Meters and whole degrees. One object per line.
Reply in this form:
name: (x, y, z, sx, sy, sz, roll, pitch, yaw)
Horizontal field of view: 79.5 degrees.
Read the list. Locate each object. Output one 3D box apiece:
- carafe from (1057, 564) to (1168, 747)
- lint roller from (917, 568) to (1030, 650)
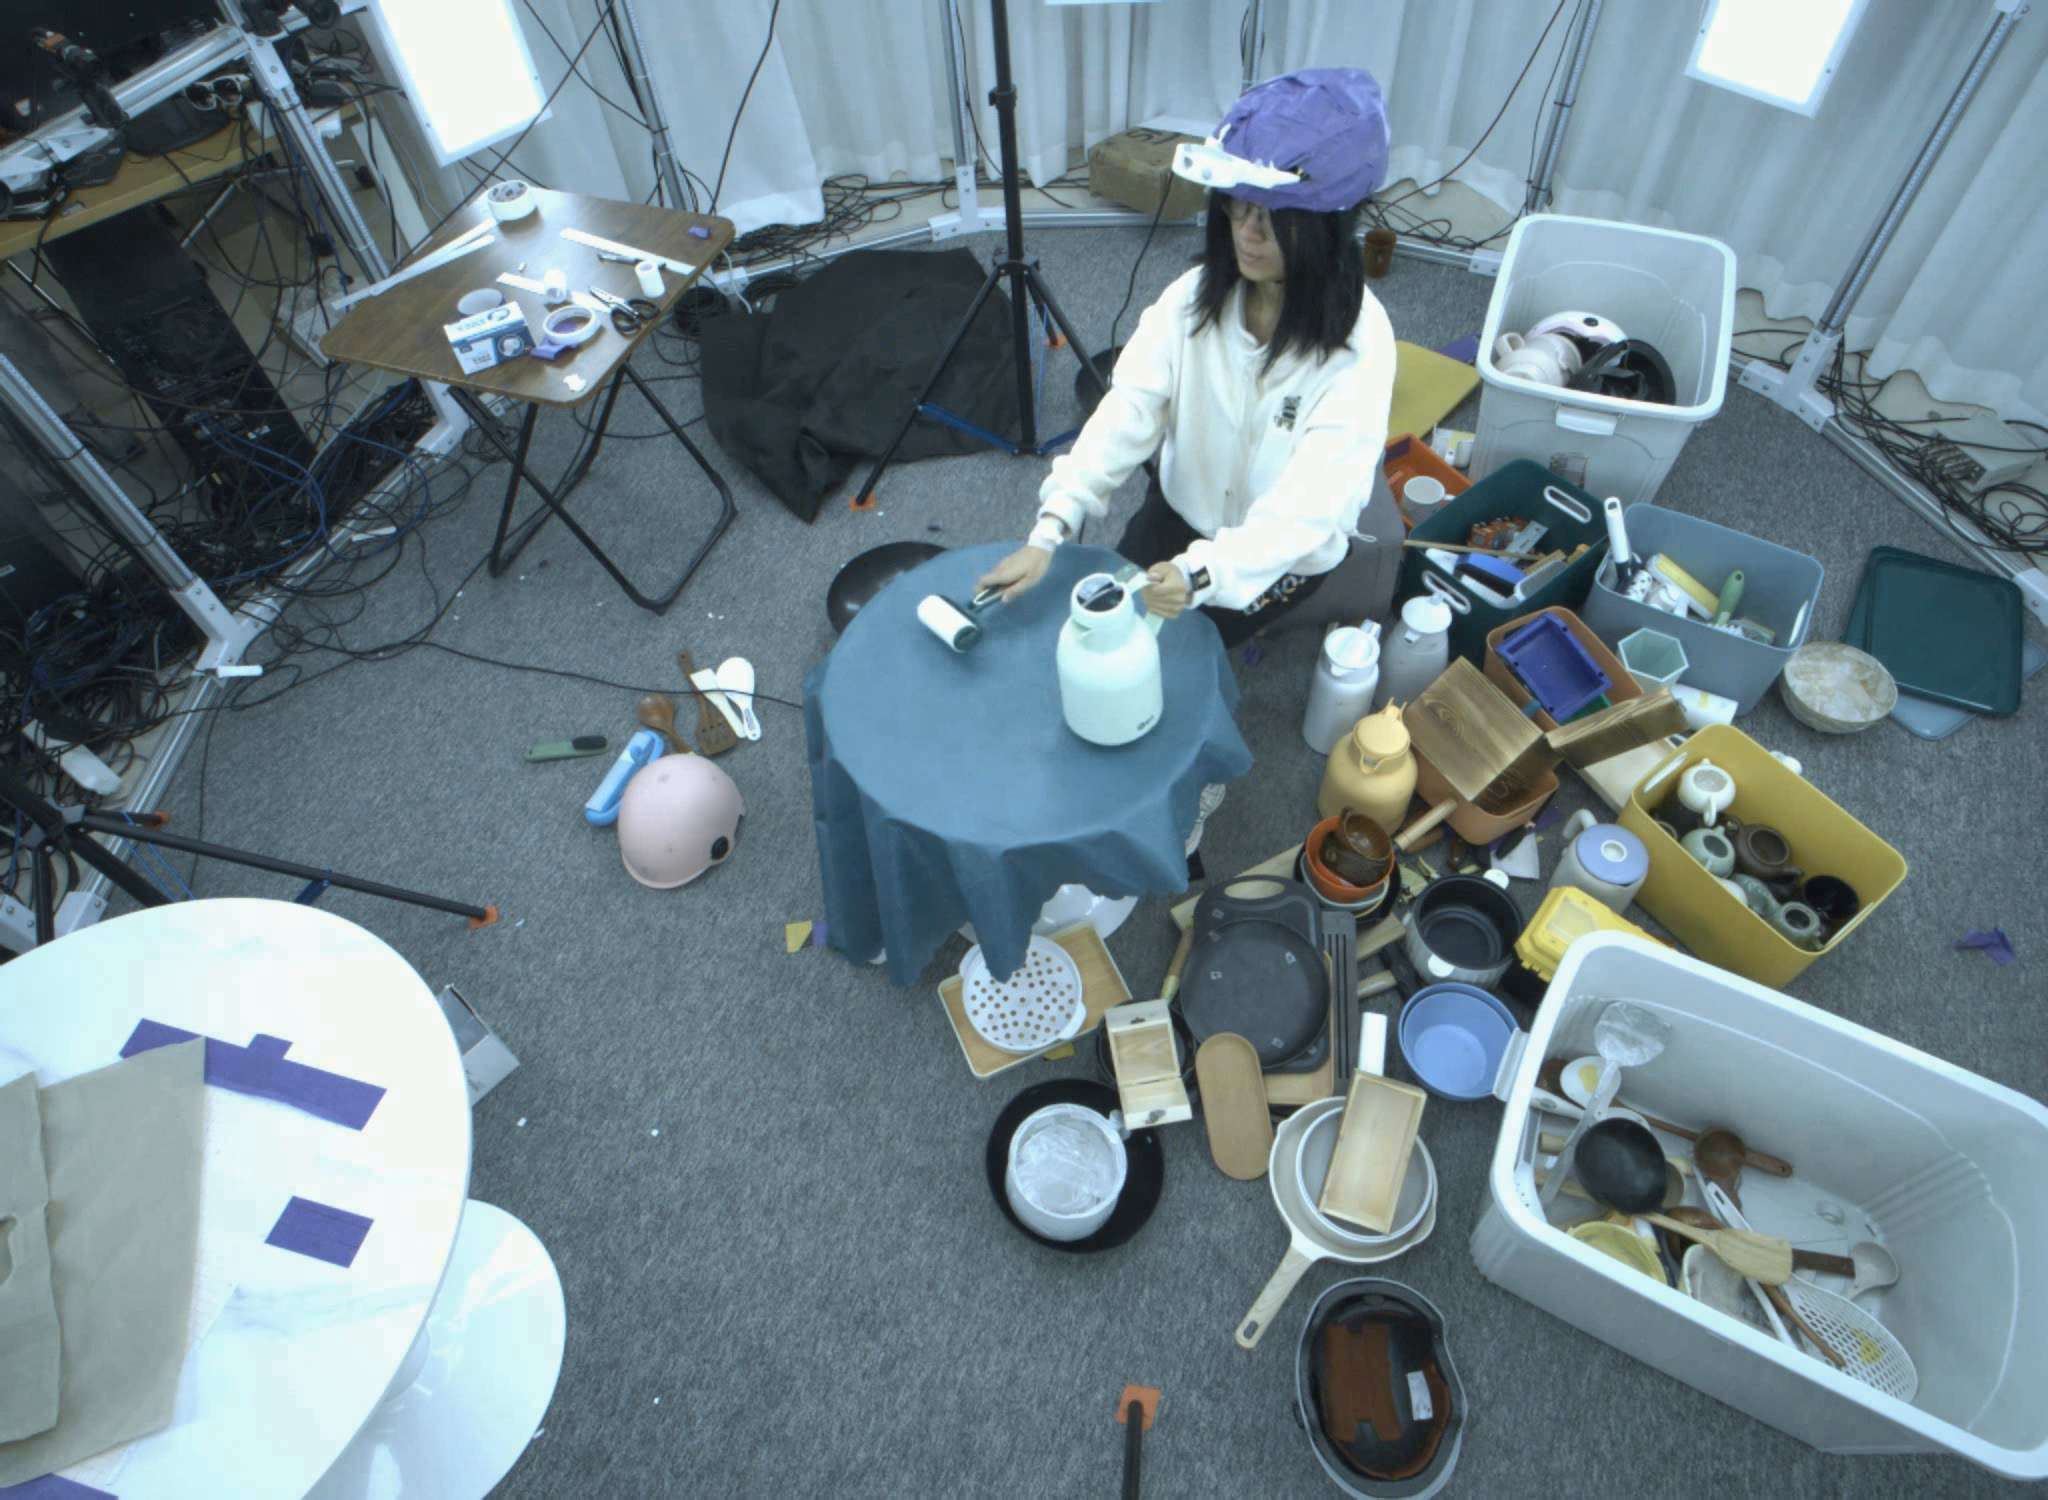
carafe: (0.126, -0.138, 1.708, 0.188, 0.260, 0.141, -39, 58, -22)
lint roller: (-0.068, -0.237, 1.882, 0.181, 0.049, 0.131, -39, 52, -11)
